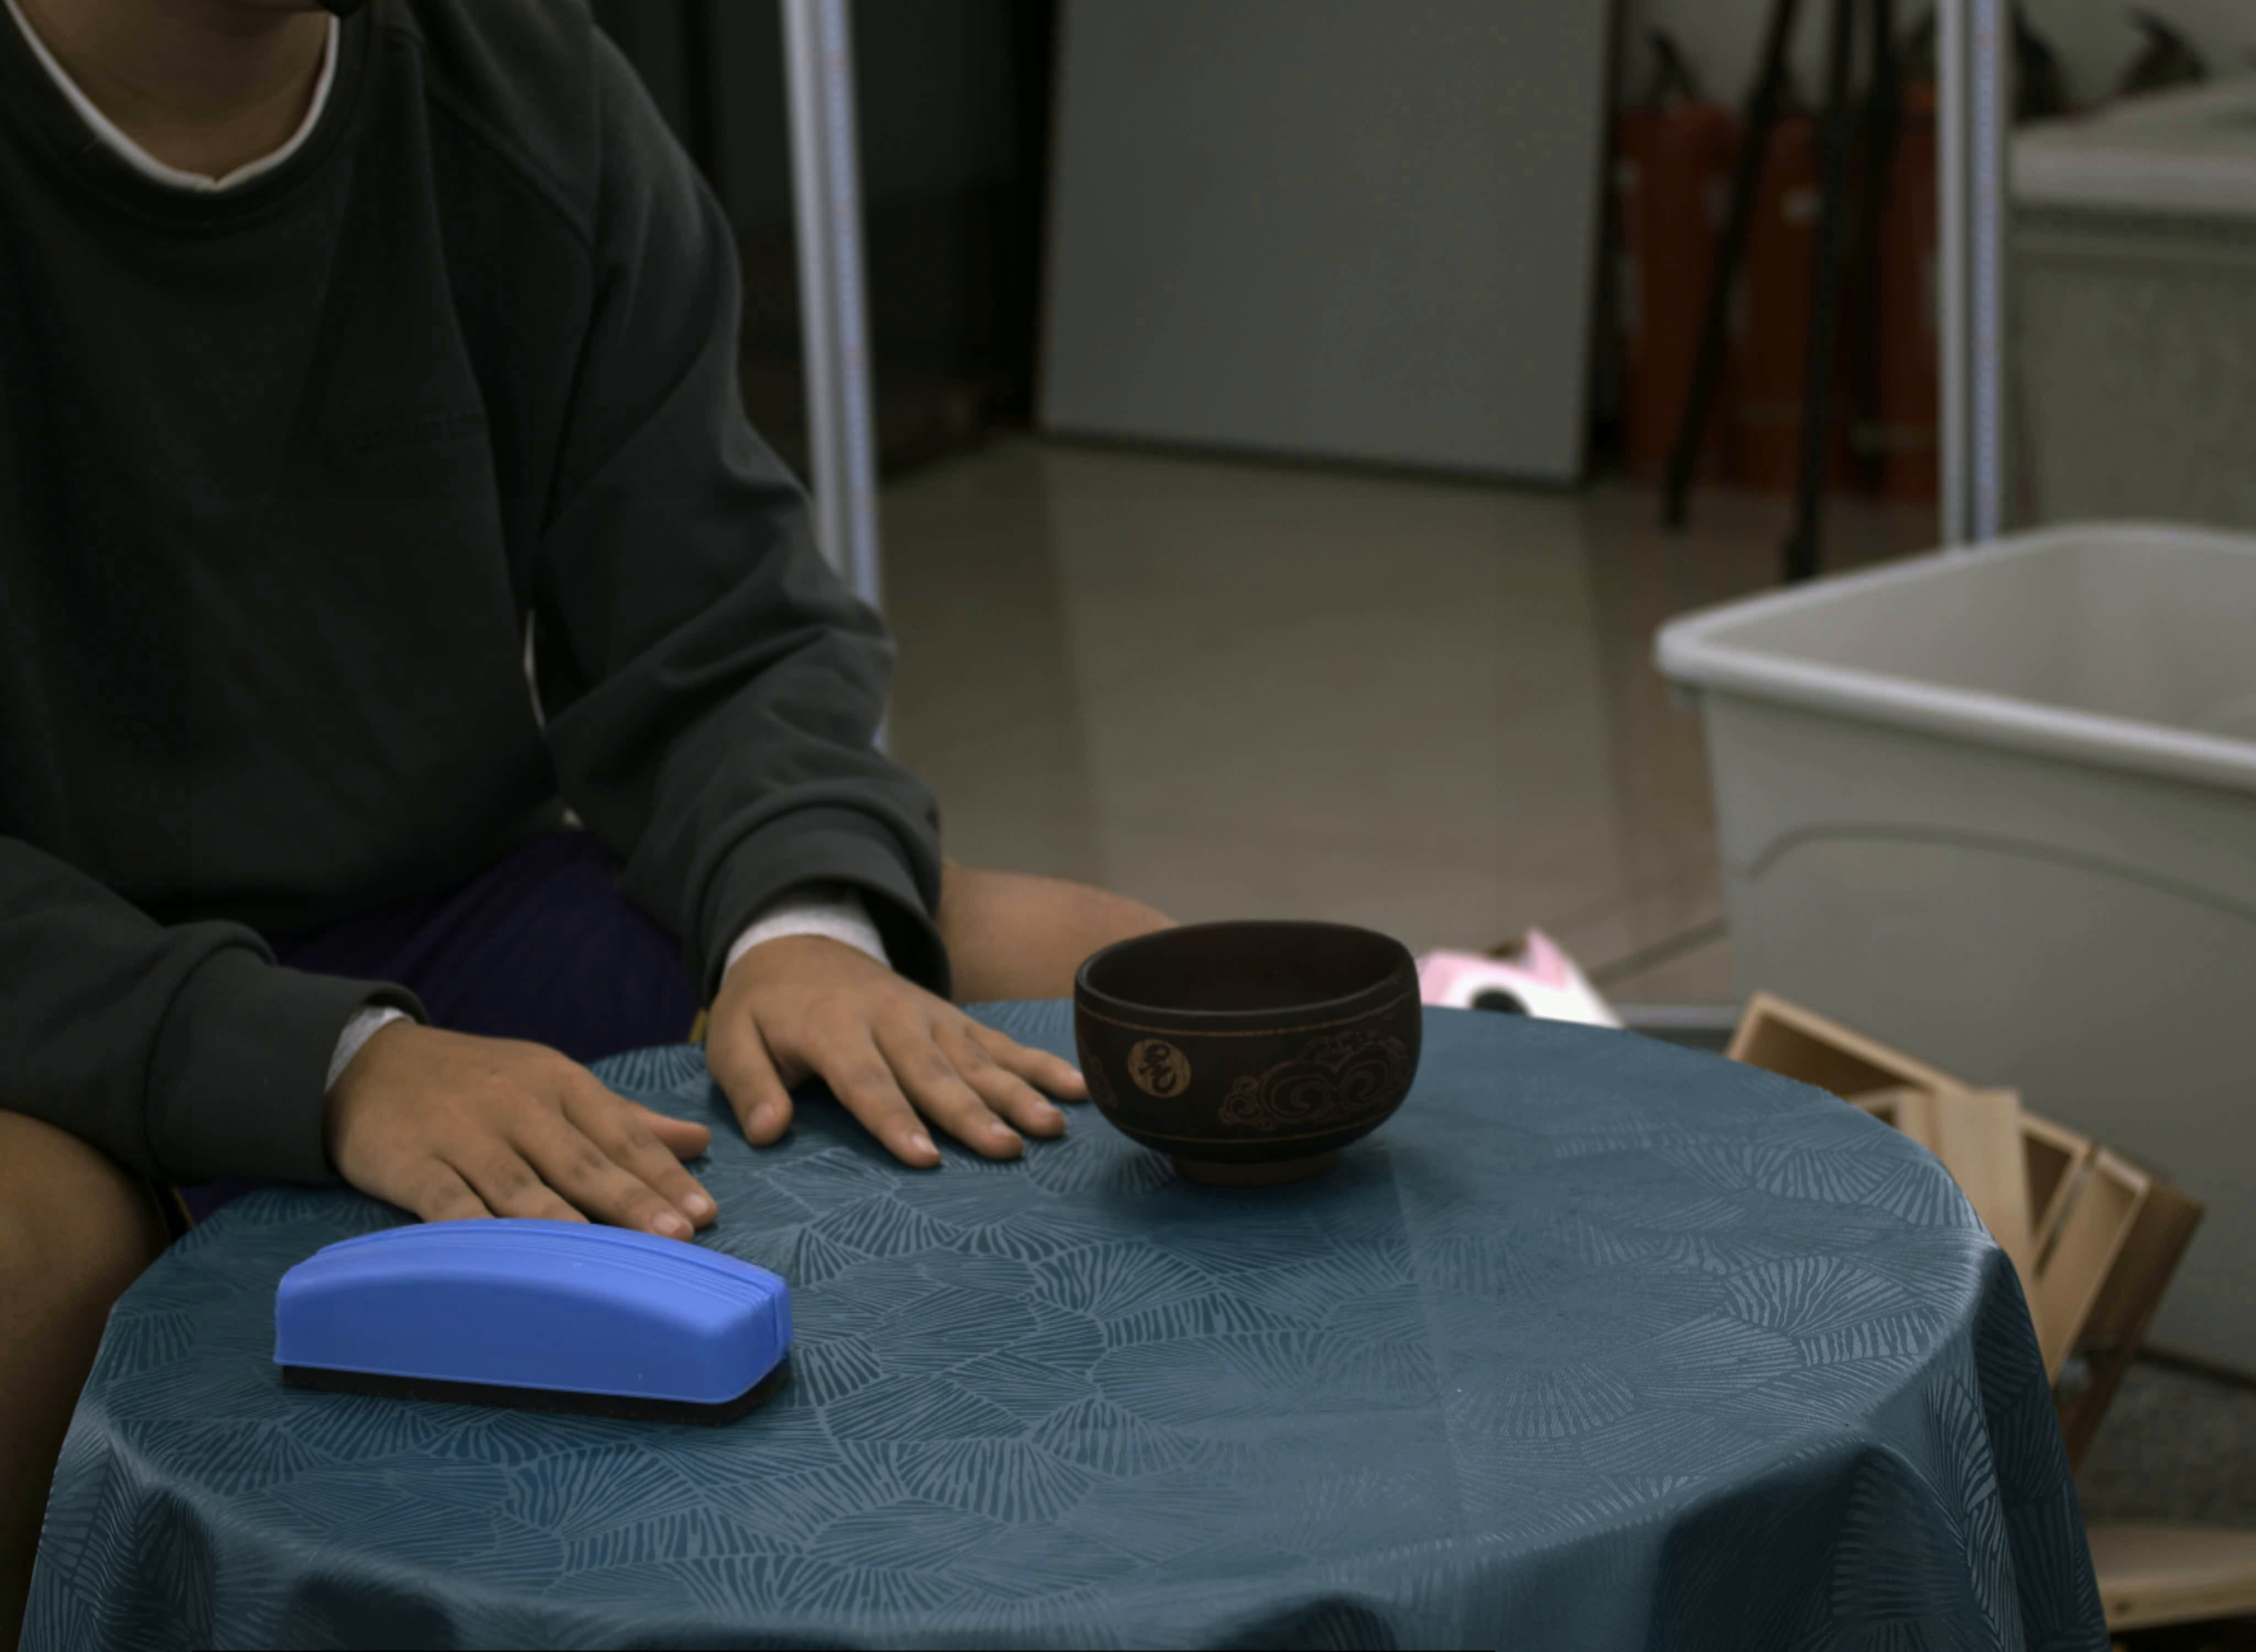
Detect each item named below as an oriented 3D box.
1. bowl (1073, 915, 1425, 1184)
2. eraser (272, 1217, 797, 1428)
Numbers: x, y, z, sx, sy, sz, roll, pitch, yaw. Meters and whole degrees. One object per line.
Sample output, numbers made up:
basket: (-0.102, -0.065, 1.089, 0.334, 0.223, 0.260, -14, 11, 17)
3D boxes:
bowl: (0.041, 0.077, 1.782, 0.116, 0.070, 0.118, -5, 13, 0)
eraser: (-0.179, 0.146, 1.622, 0.162, 0.048, 0.053, 2, 17, 23)
